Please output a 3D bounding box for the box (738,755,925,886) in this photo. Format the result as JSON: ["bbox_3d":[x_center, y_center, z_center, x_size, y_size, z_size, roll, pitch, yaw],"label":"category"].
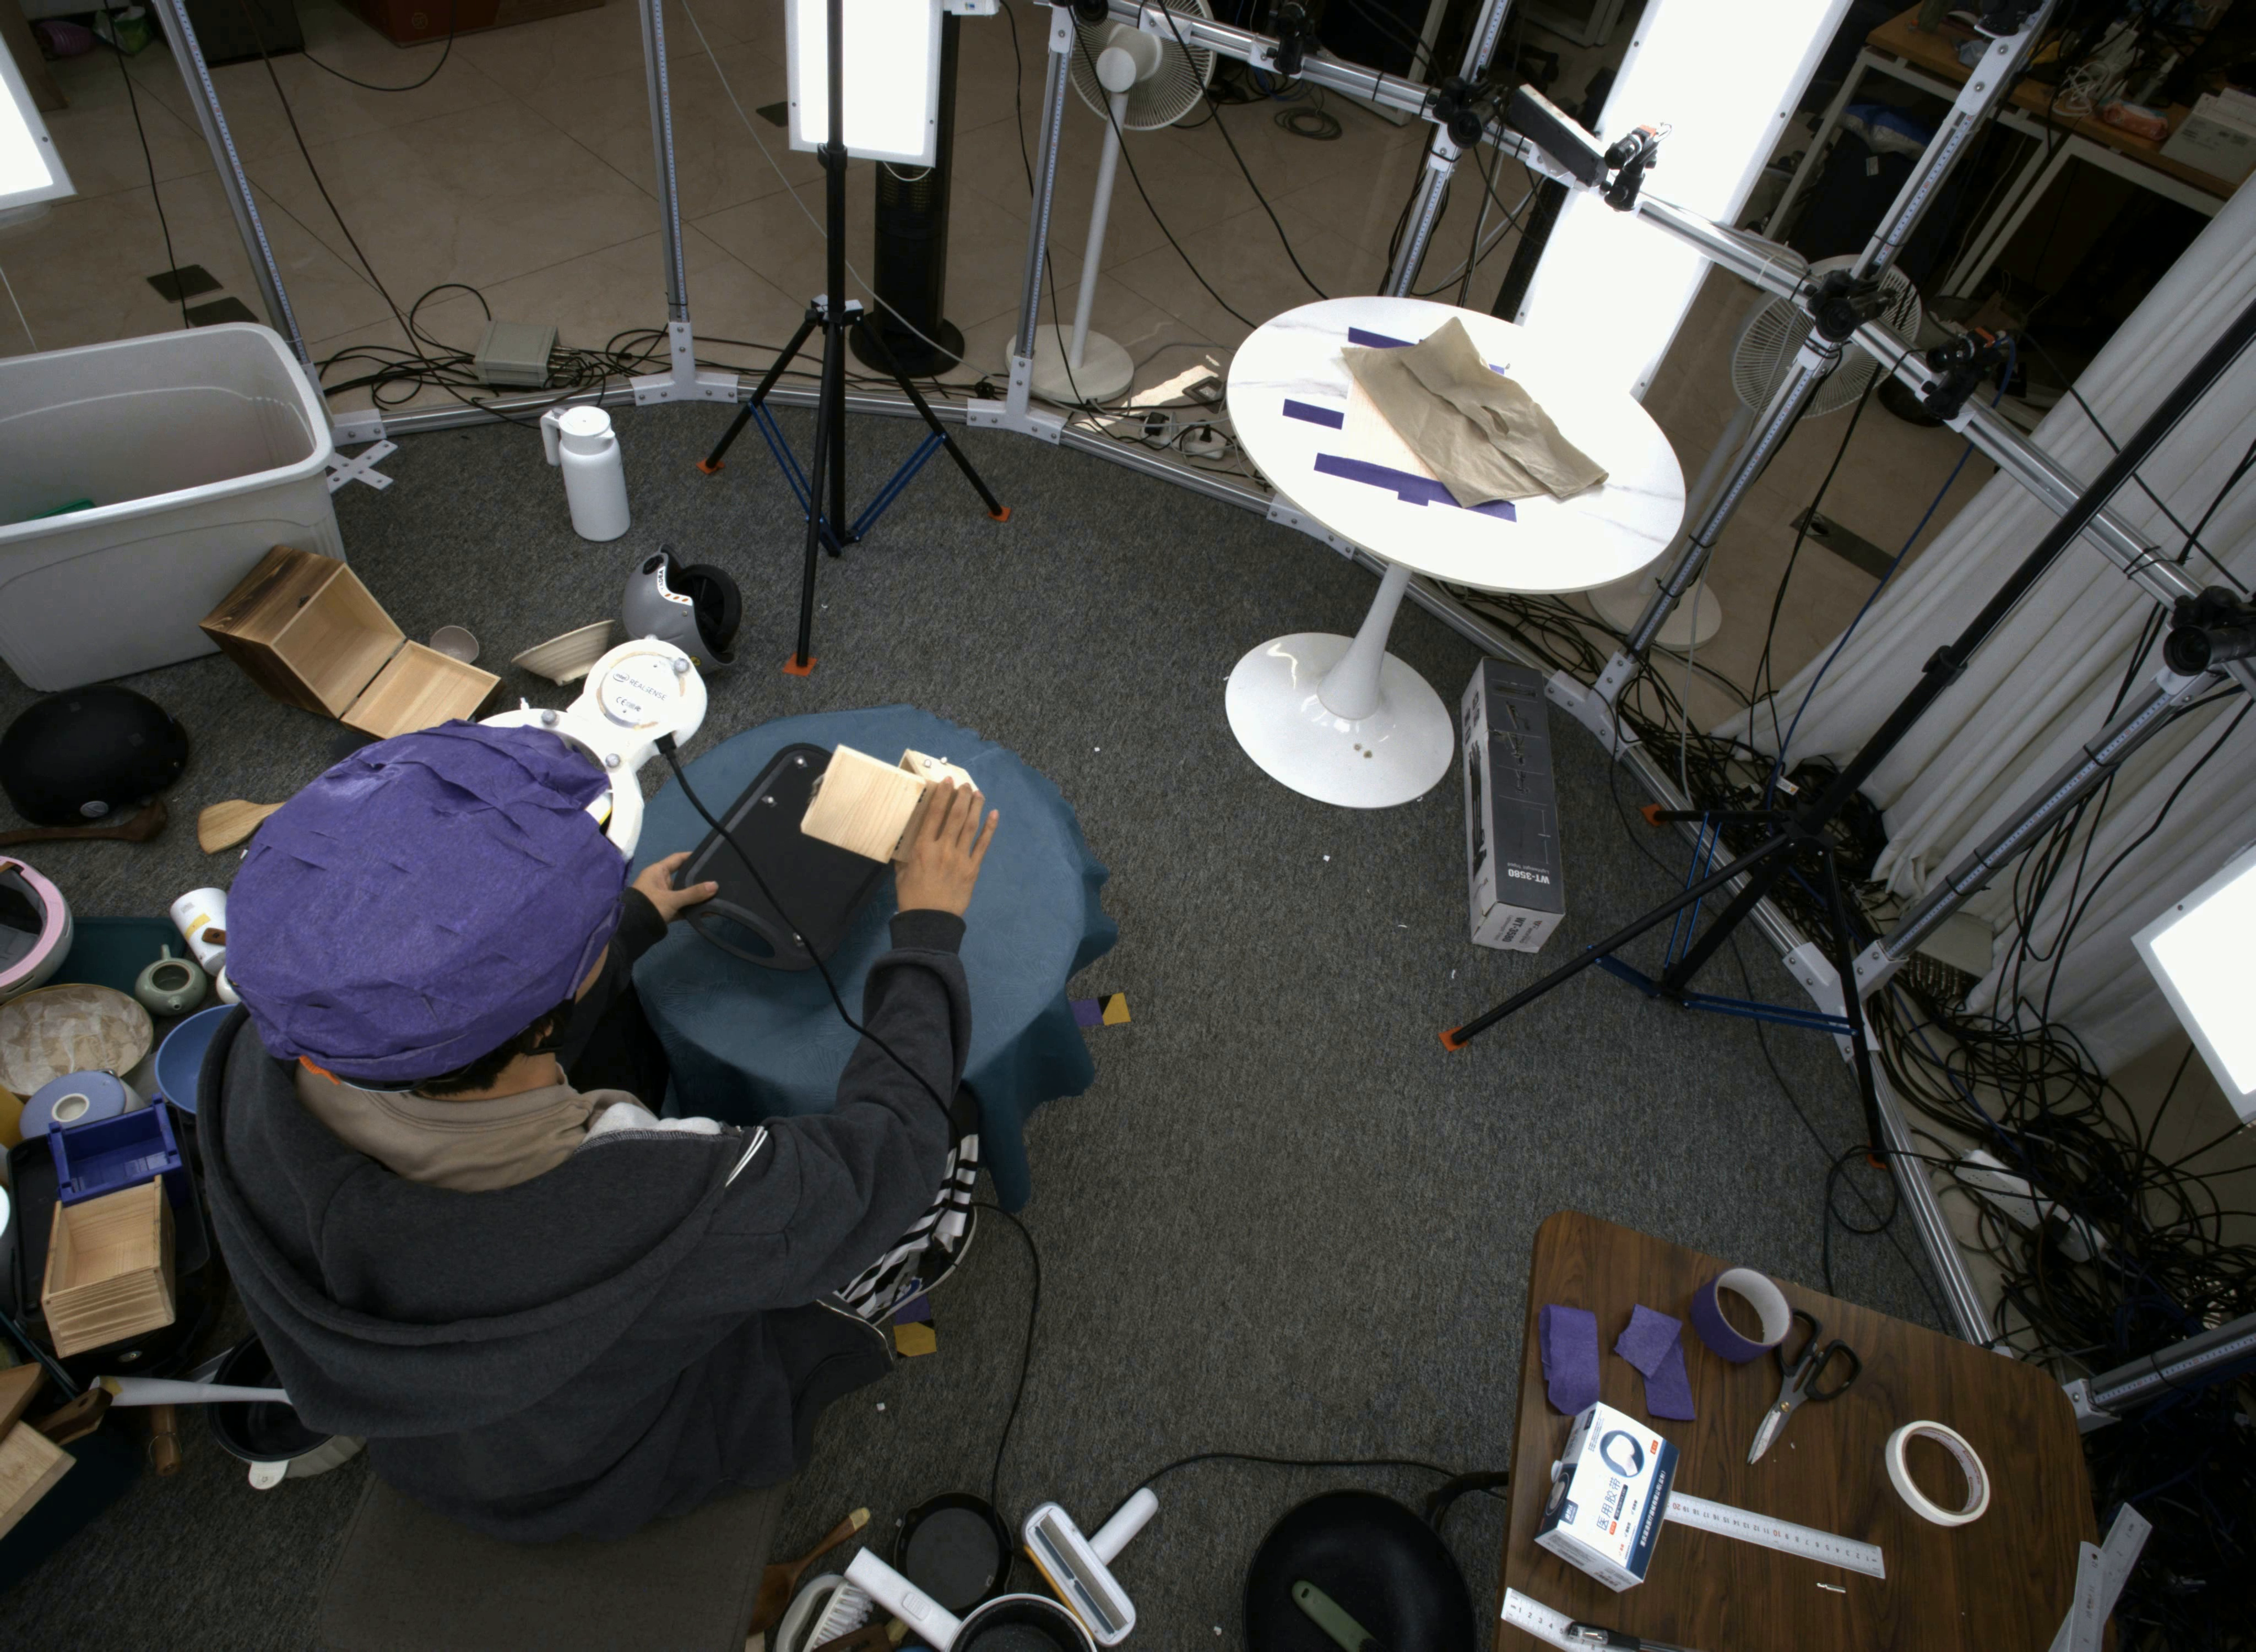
[{"bbox_3d":[-0.334,-0.019,1.434,0.189,0.104,0.129,19,13,-32],"label":"box"}]

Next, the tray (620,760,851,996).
[{"bbox_3d":[-0.463,0.058,1.566,0.211,0.010,0.322,29,49,-5],"label":"tray"}]
